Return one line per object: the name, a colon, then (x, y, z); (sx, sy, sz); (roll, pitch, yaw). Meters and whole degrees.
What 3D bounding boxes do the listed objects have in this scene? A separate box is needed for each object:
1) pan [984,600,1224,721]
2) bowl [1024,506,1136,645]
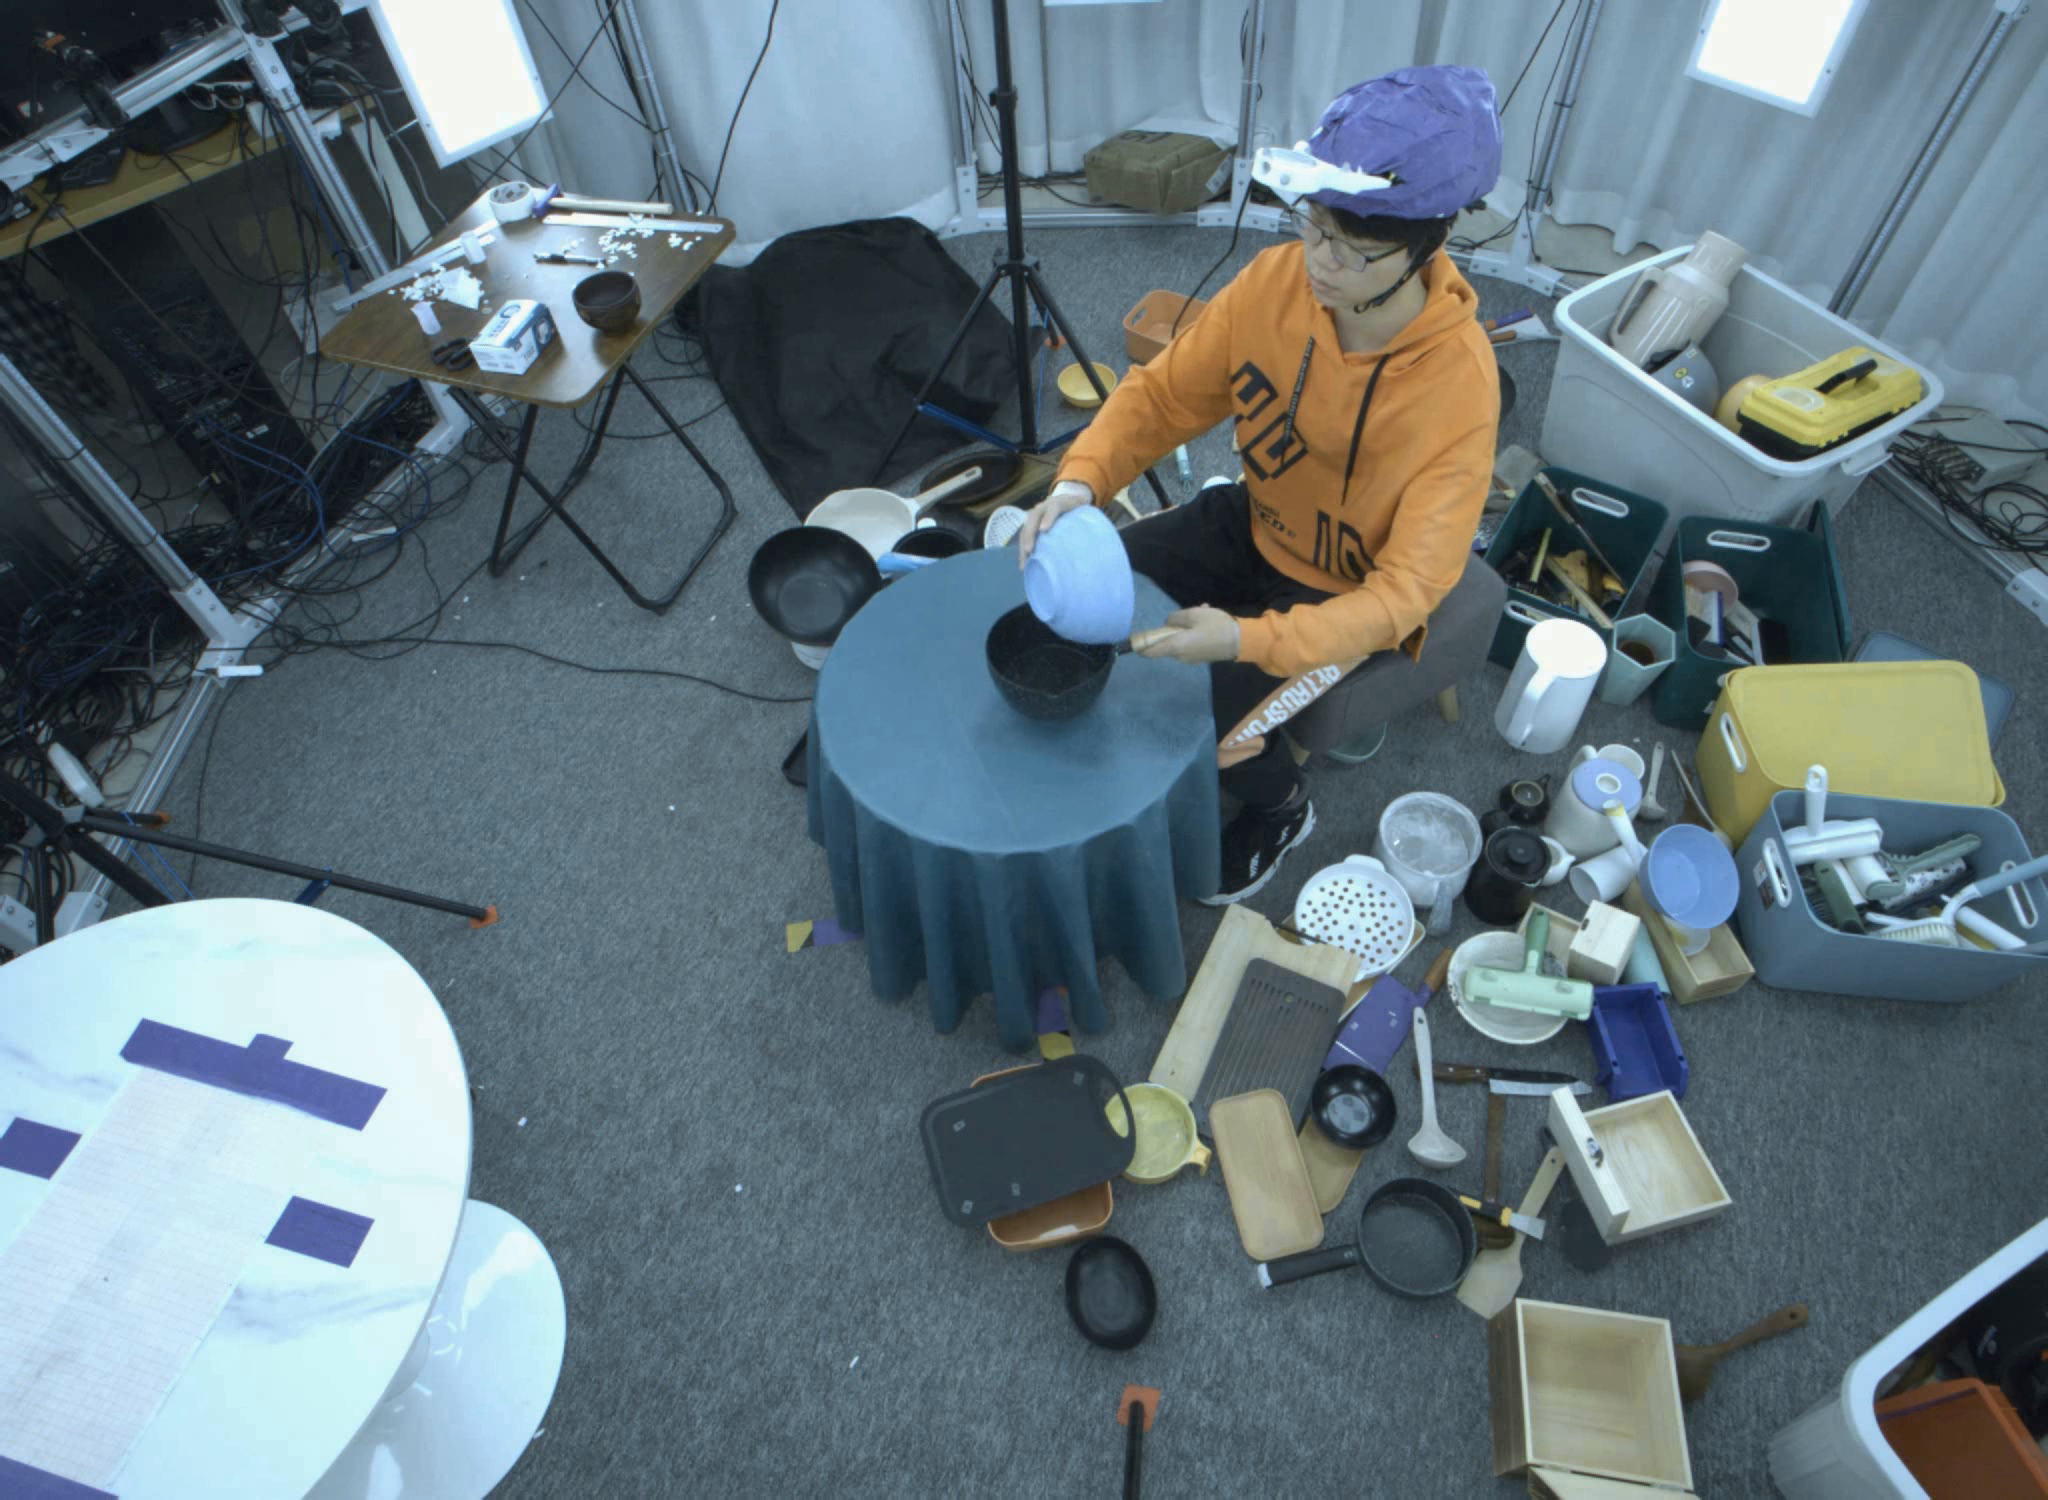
pan: (0.116, -0.141, 1.774); (0.343, 0.109, 0.204); (-6, 51, -1)
bowl: (0.061, -0.230, 1.689); (0.096, 0.197, 0.193); (-18, 55, -23)
